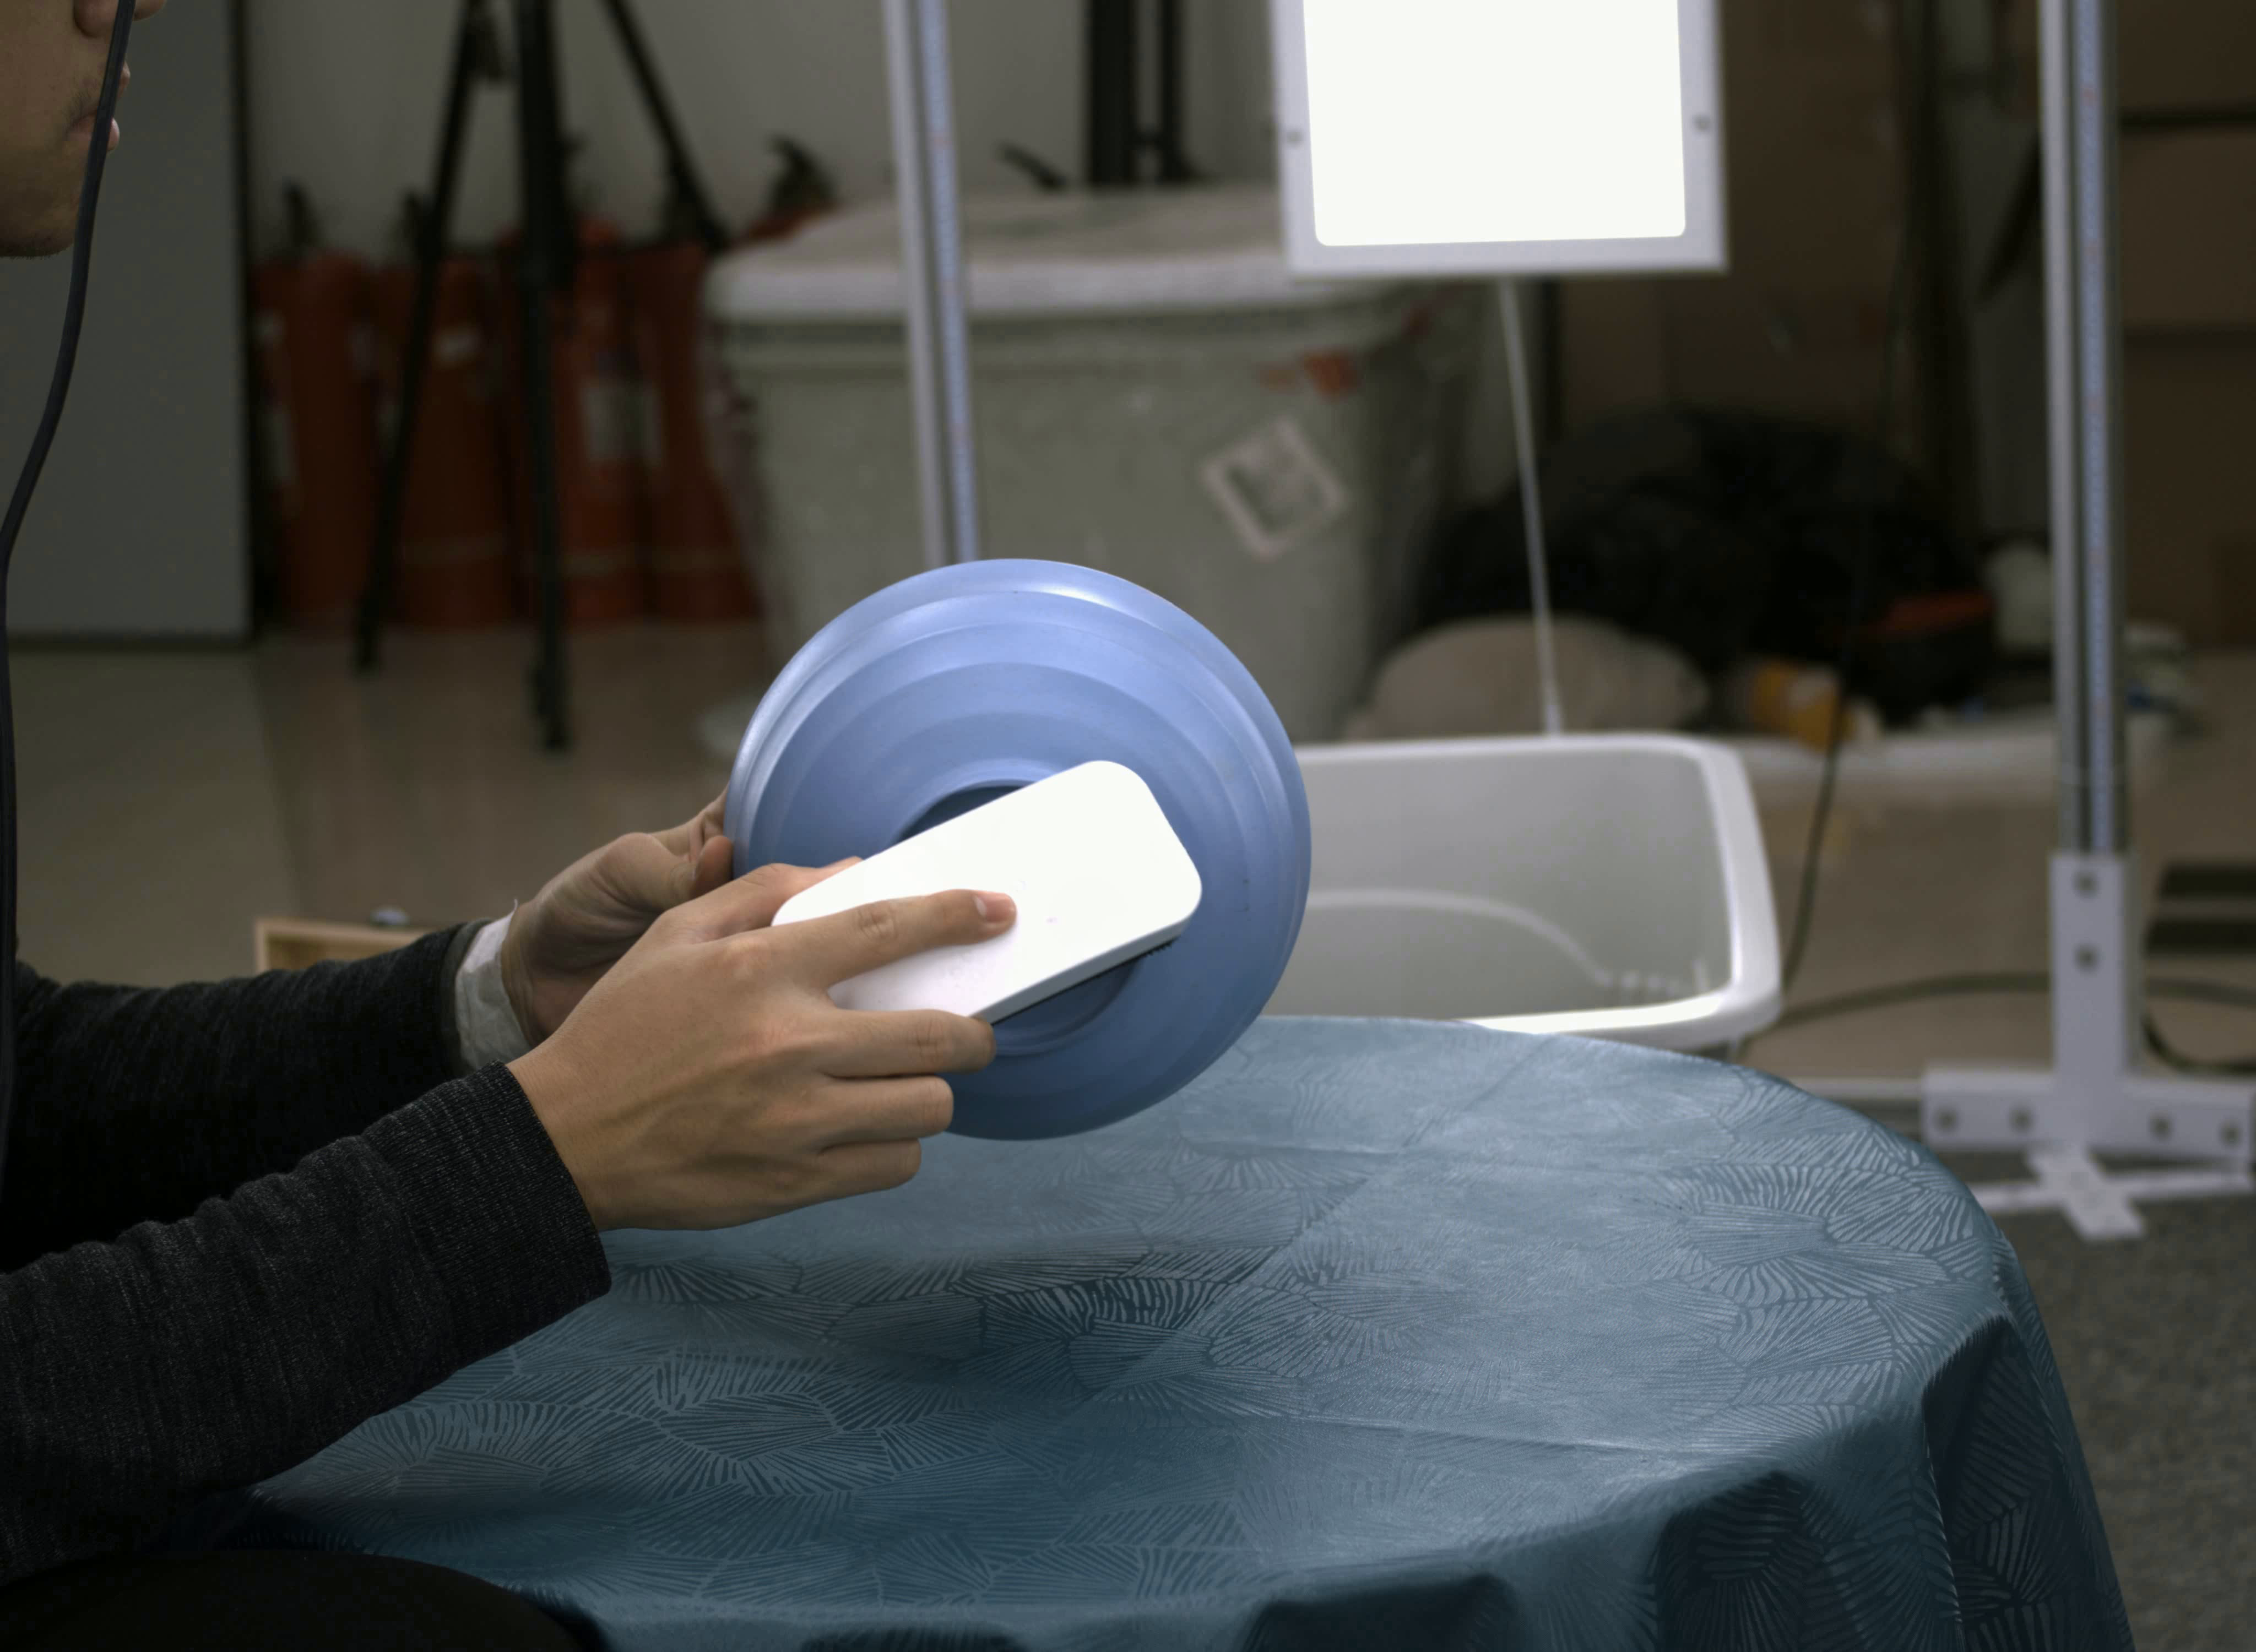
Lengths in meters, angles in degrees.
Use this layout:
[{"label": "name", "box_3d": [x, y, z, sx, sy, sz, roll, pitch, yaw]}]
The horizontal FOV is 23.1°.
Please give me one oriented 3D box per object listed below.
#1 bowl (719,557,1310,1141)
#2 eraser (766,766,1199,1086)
[{"label": "bowl", "box_3d": [-0.039, 0.018, 1.778, 0.197, 0.197, 0.095, -3, 14, 5]}, {"label": "eraser", "box_3d": [-0.045, 0.029, 1.690, 0.129, 0.064, 0.035, -24, -23, -14]}]
